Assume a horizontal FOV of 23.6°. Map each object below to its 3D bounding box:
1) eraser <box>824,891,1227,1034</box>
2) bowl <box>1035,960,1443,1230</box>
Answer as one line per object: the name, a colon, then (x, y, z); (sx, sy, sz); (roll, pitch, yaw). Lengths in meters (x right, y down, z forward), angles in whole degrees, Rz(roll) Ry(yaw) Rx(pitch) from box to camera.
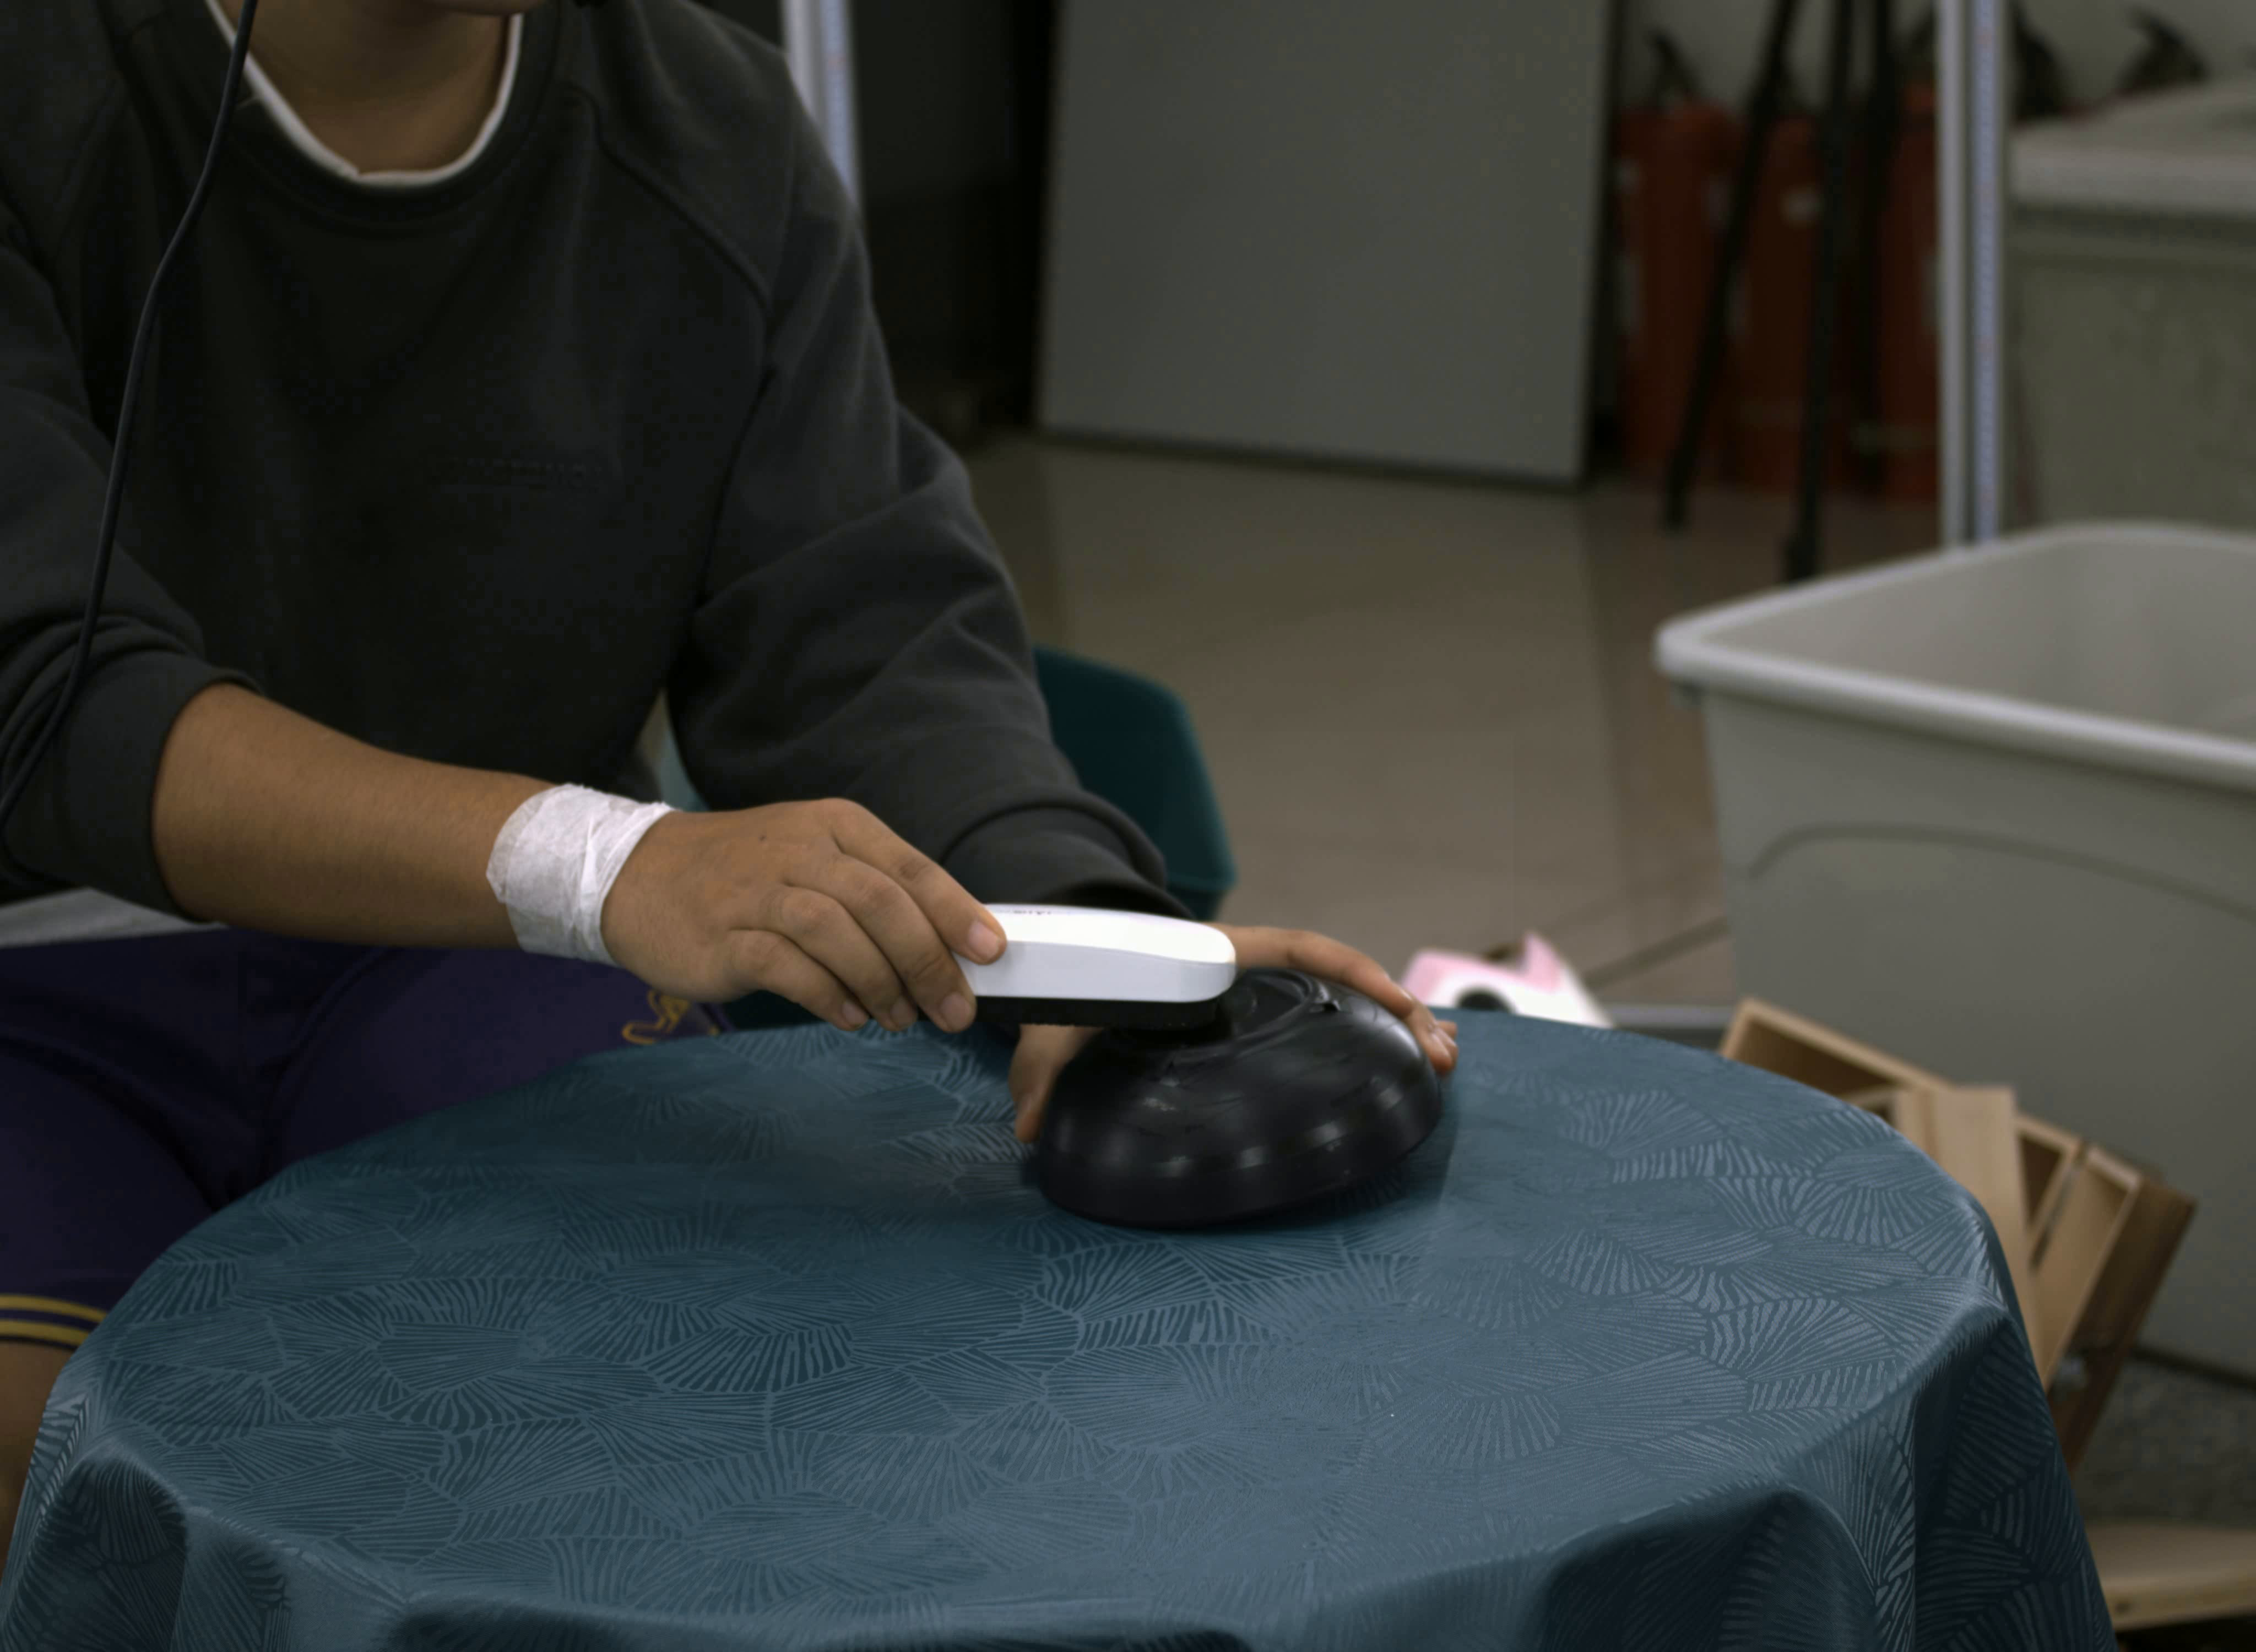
eraser: (-0.033, 0.044, 1.766); (0.130, 0.035, 0.063); (4, 8, 7)
bowl: (0.032, 0.081, 1.772); (0.138, 0.050, 0.140); (-12, 19, 3)
